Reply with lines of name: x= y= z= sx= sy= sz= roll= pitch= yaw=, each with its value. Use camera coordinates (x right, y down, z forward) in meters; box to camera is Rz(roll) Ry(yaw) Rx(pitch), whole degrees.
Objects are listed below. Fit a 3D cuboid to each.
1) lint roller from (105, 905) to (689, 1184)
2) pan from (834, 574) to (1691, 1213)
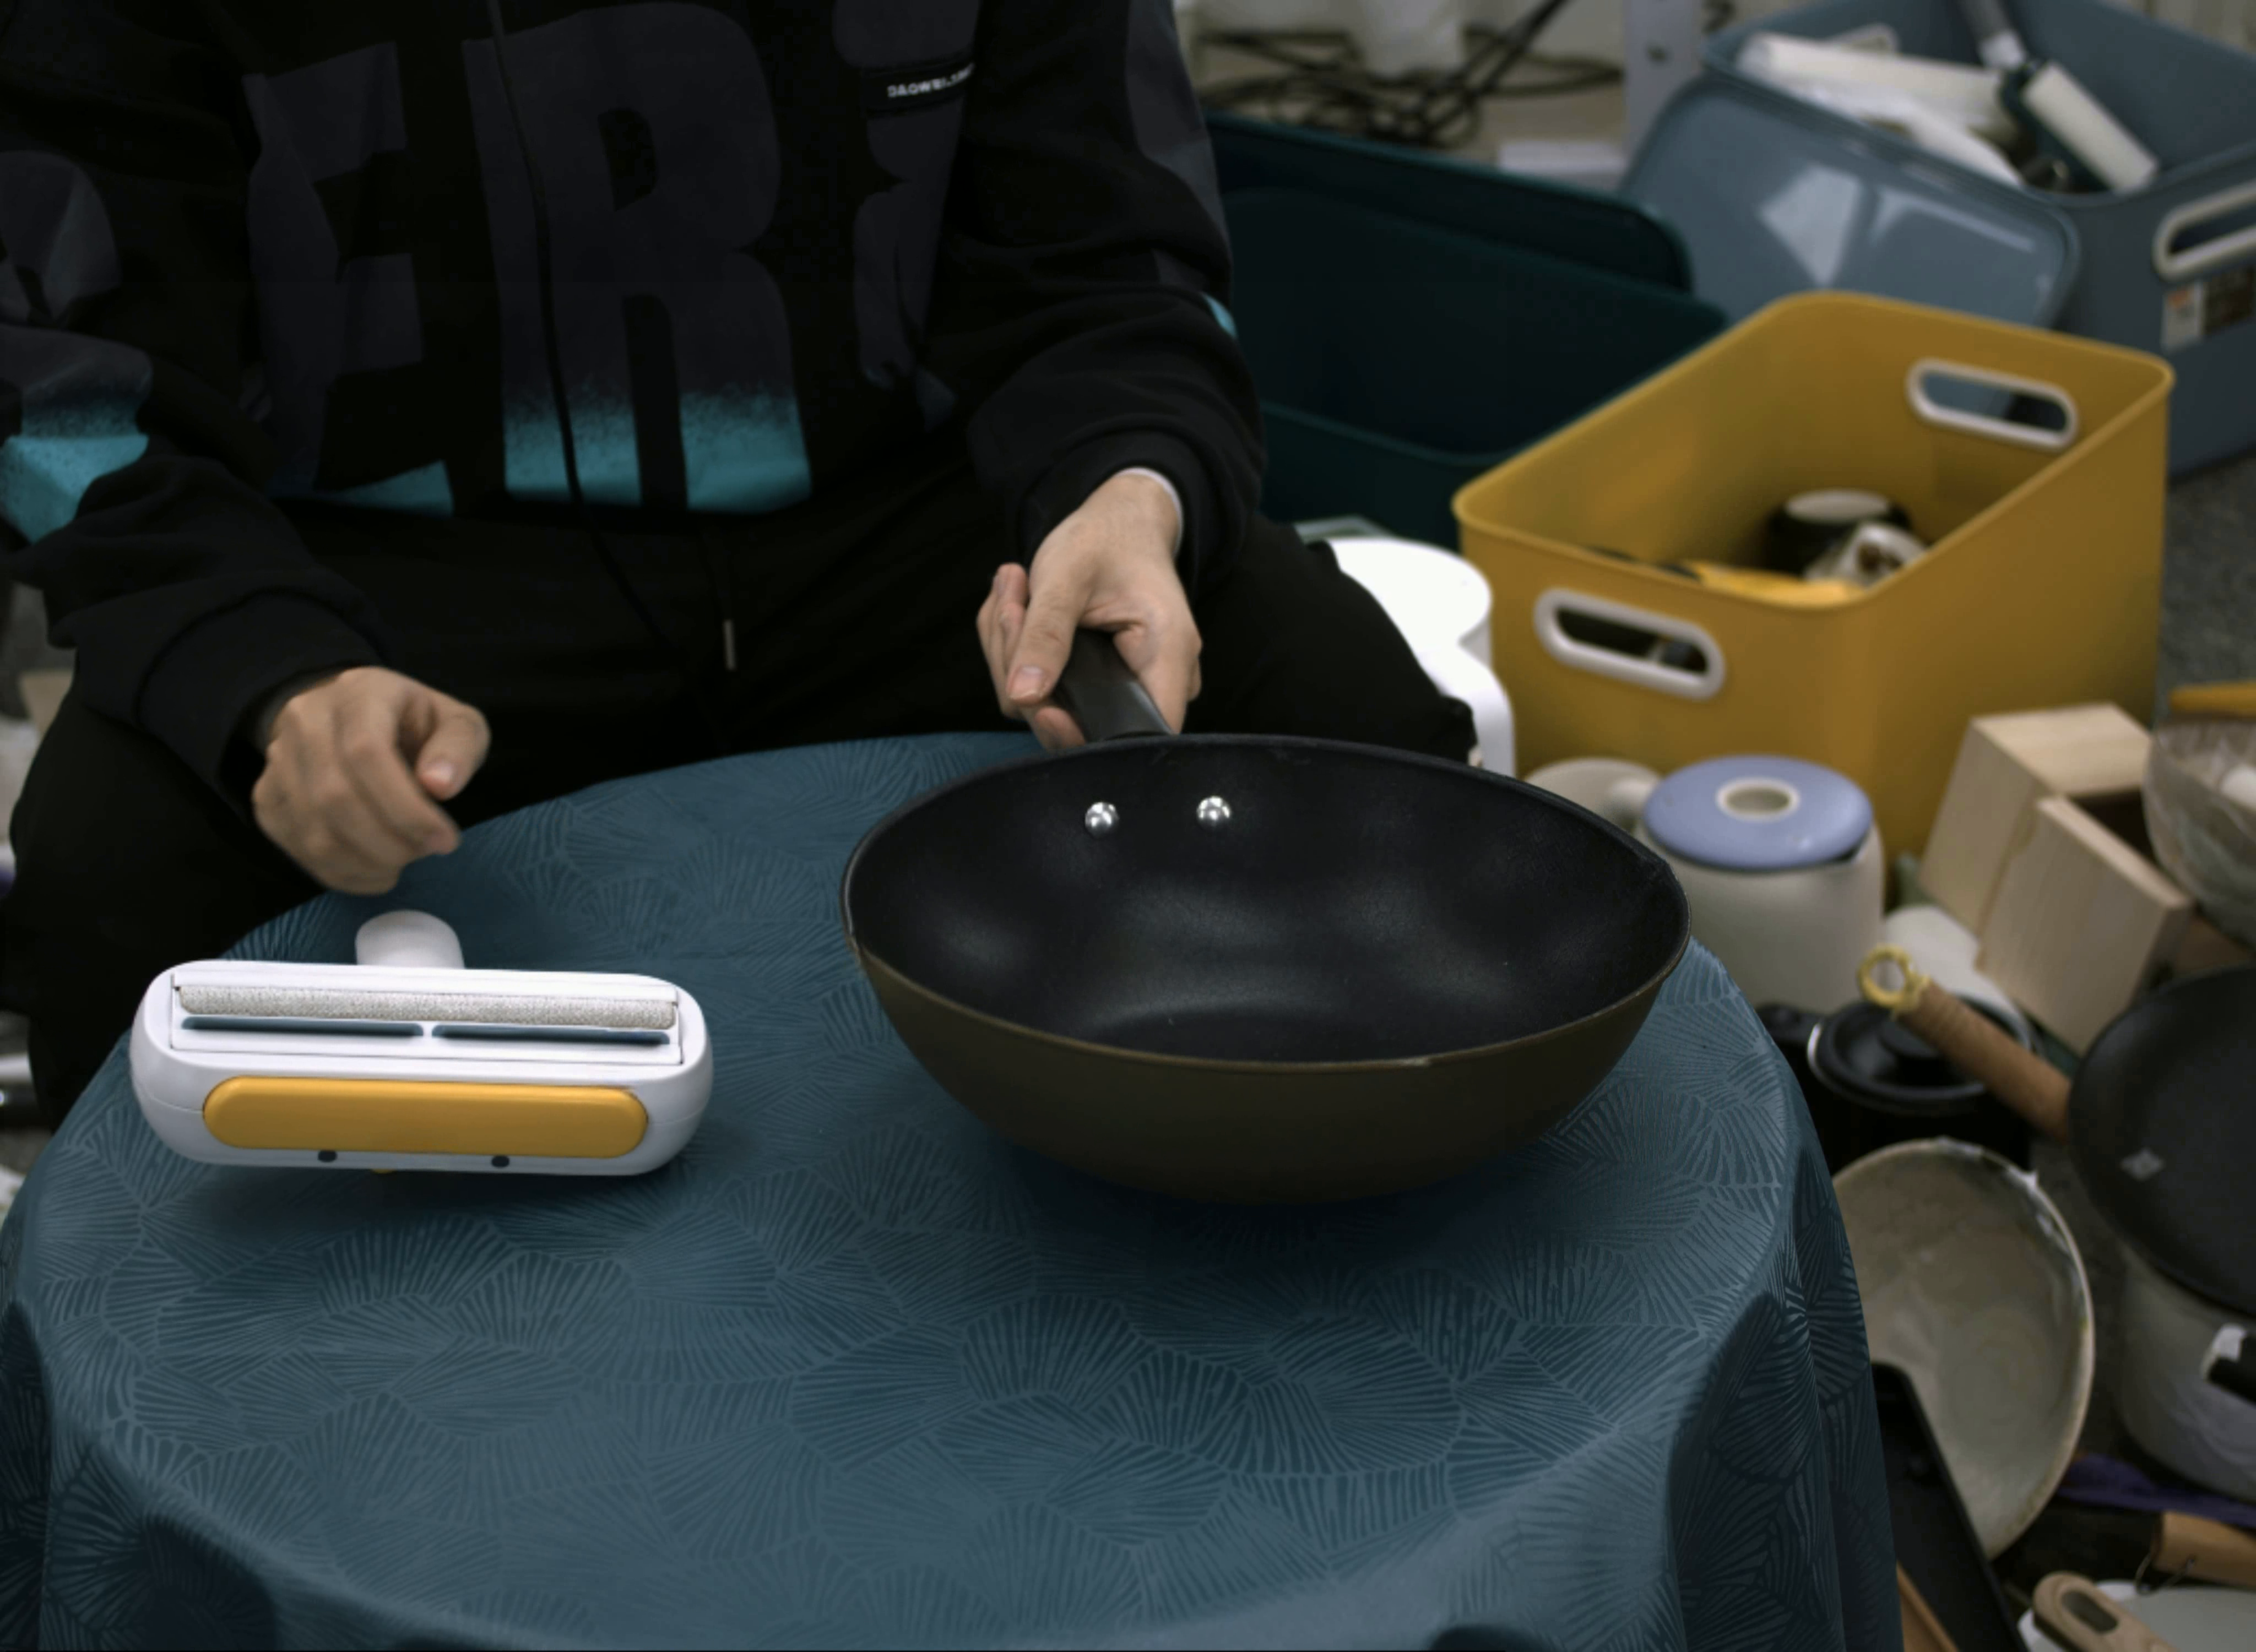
lint roller: x=-0.247 y=0.062 z=1.926 sx=0.192 sy=0.073 sz=0.195 roll=0 pitch=26 yaw=-6
pan: x=0.018 y=0.024 z=1.953 sx=0.288 sy=0.086 sz=0.467 roll=-4 pitch=23 yaw=-16
